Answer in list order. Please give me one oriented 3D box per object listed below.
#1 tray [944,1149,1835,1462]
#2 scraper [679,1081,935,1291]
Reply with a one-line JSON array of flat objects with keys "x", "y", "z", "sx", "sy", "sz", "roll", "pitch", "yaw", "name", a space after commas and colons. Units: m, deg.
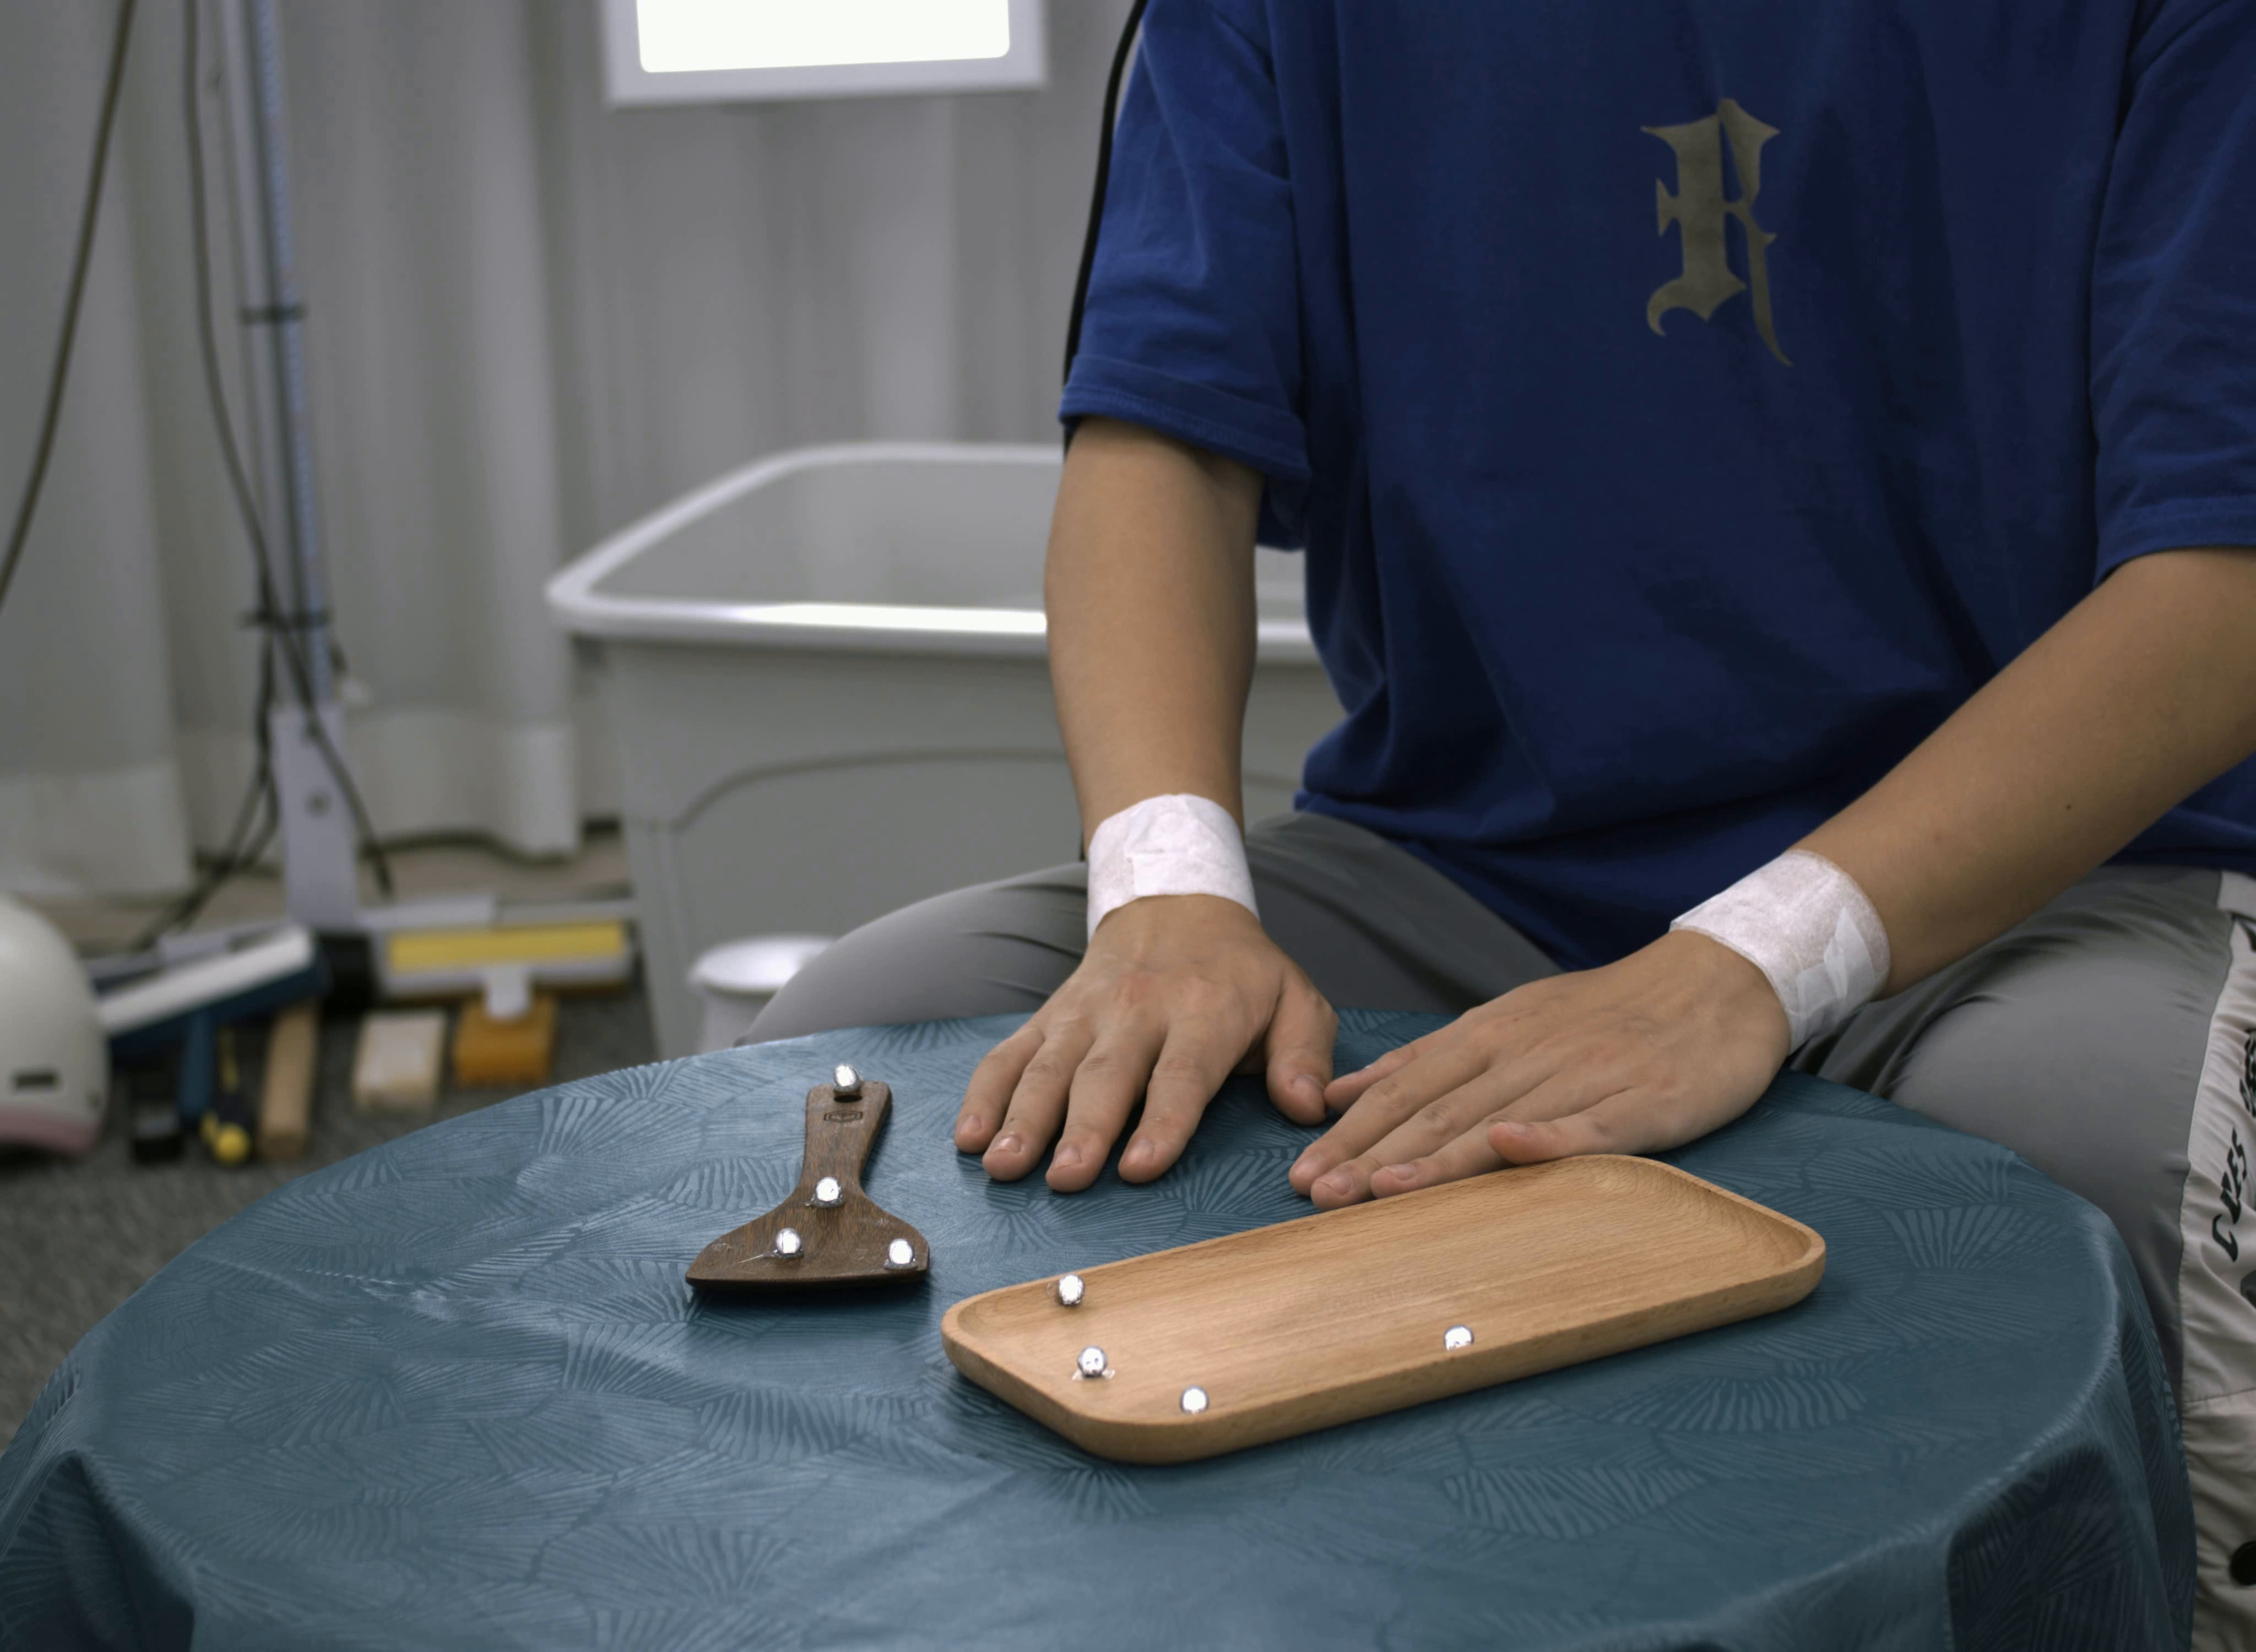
[{"x": 0.077, "y": 0.137, "z": 1.579, "sx": 0.249, "sy": 0.023, "sz": 0.131, "roll": -10, "pitch": 19, "yaw": -27, "name": "tray"}, {"x": -0.094, "y": 0.113, "z": 1.719, "sx": 0.075, "sy": 0.011, "sz": 0.212, "roll": -2, "pitch": 14, "yaw": 2, "name": "scraper"}]
